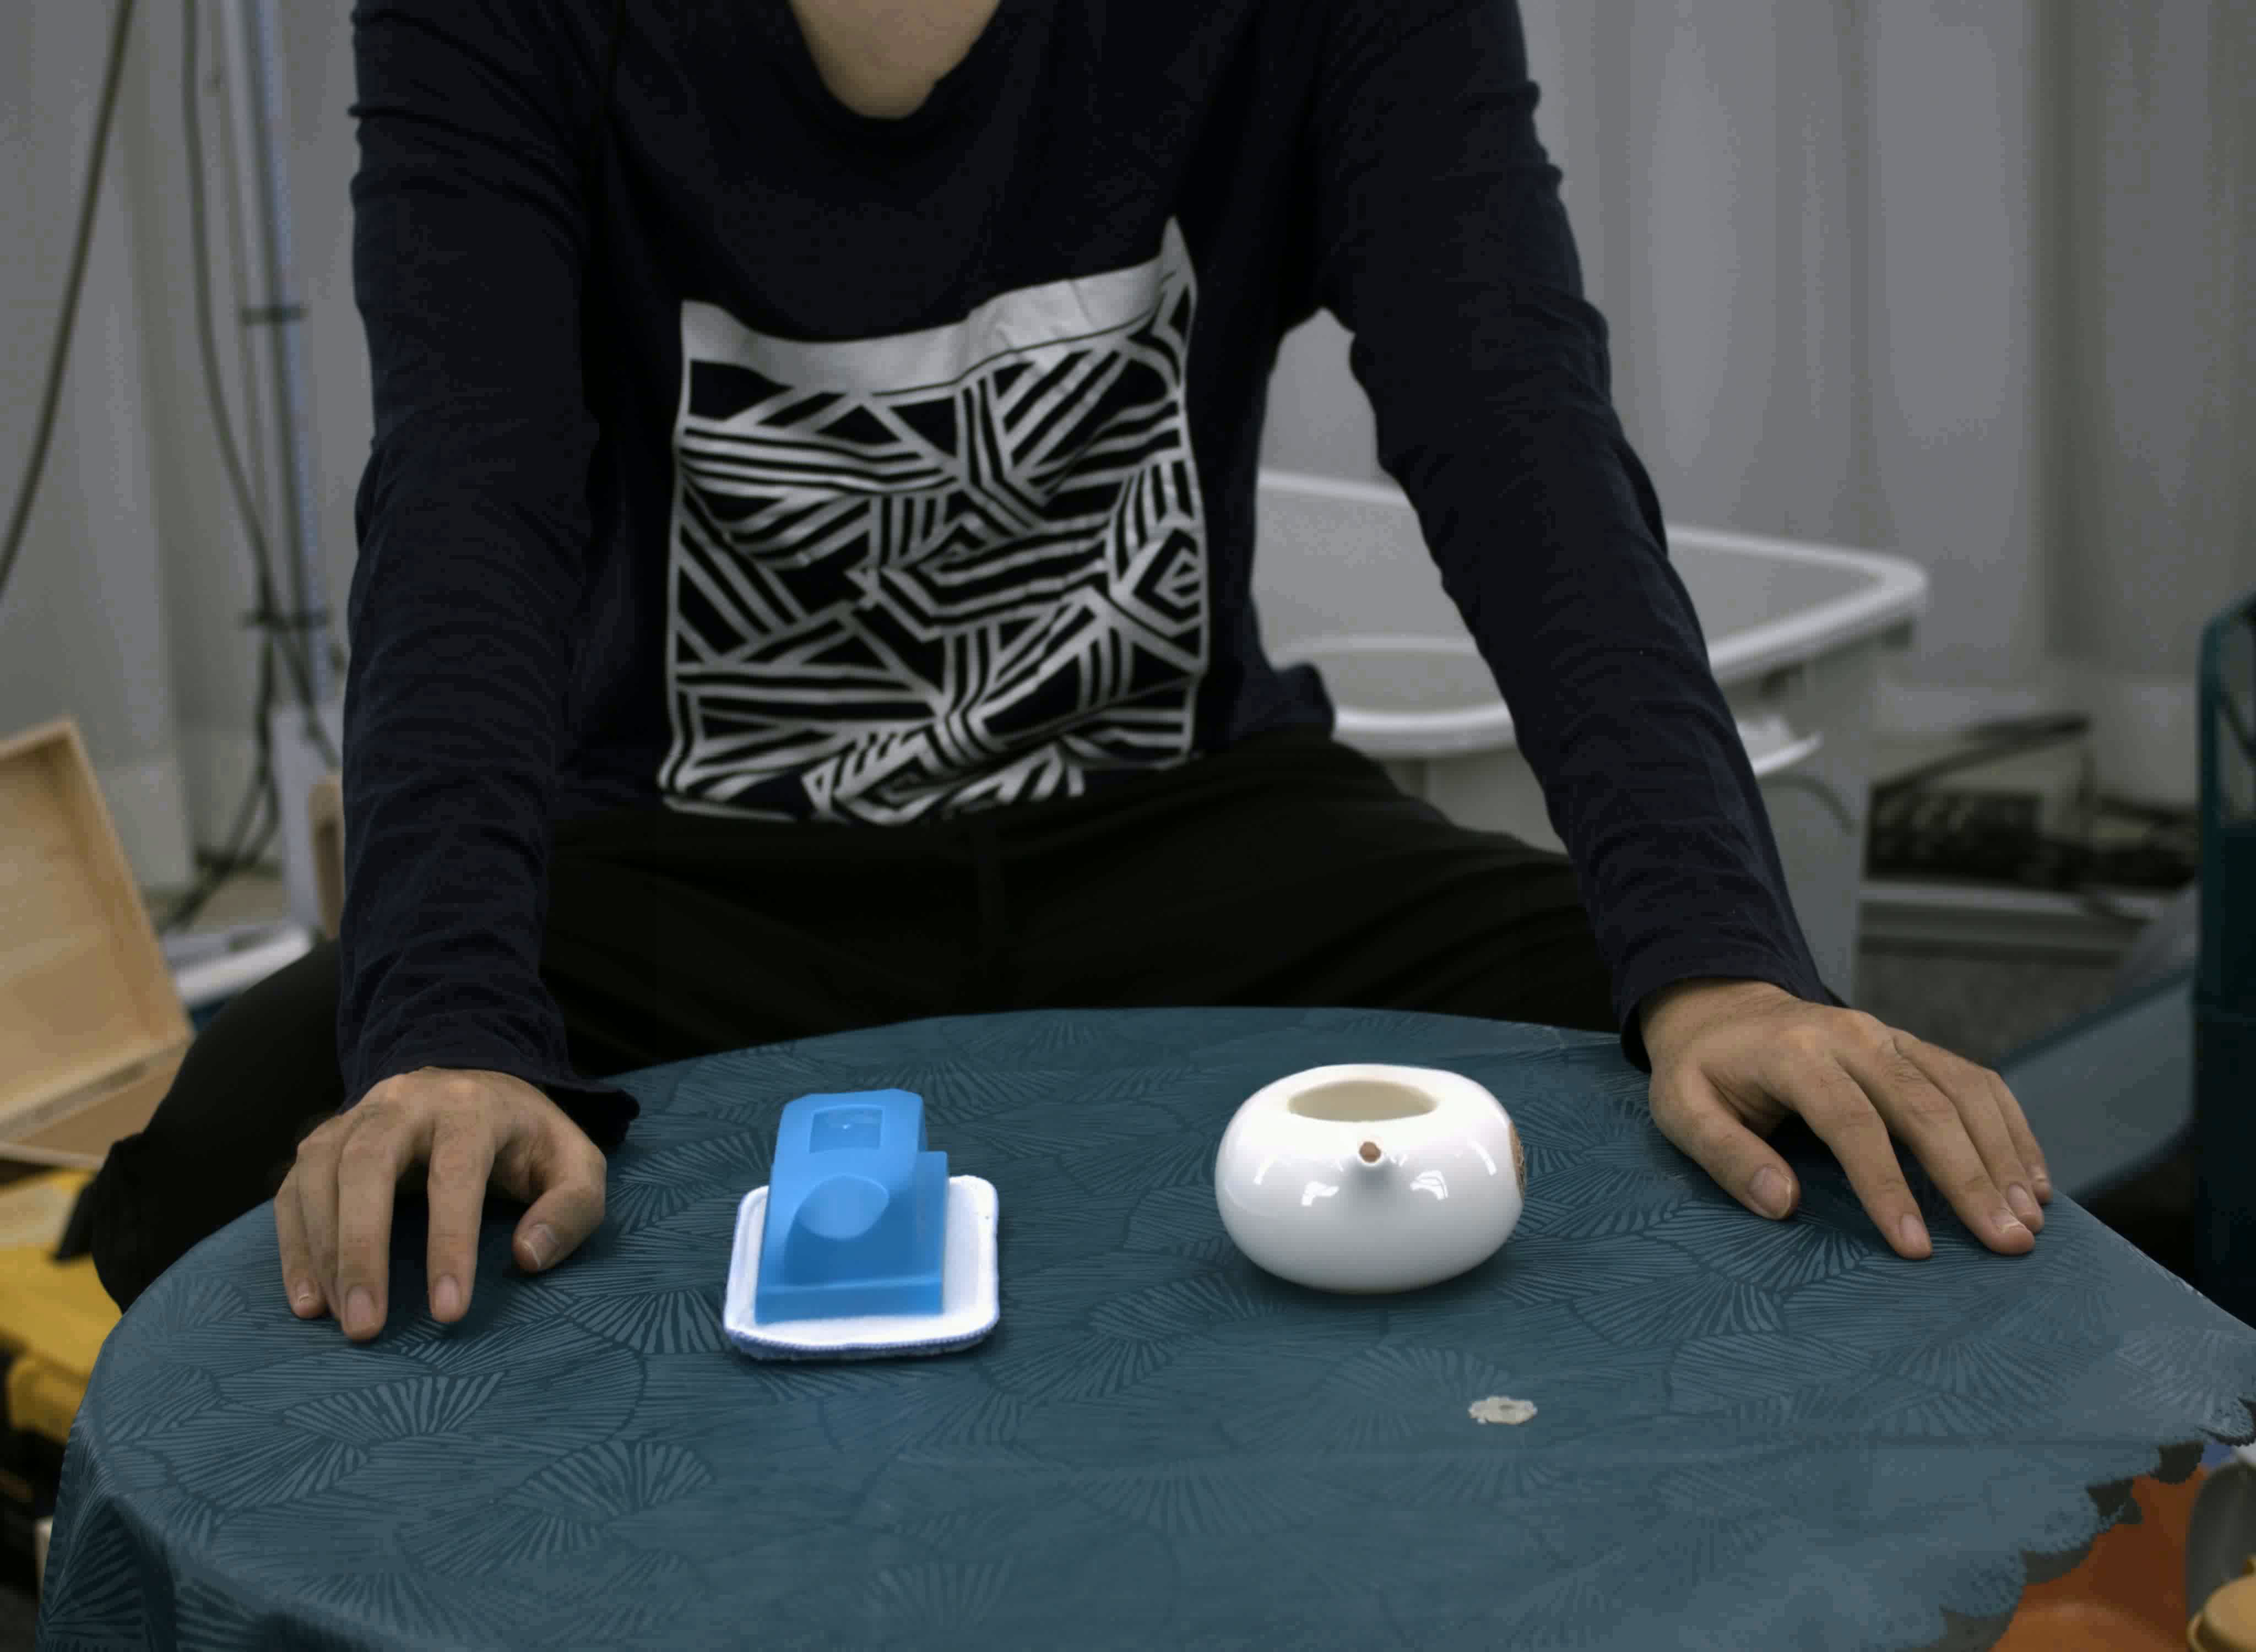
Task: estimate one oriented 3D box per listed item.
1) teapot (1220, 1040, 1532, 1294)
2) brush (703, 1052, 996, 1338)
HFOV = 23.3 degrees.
[{"bbox_3d":[0.073,0.102,1.643,0.093,0.056,0.128,-7,14,-3],"label":"teapot"},{"bbox_3d":[-0.083,0.107,1.641,0.083,0.055,0.145,1,17,1],"label":"brush"}]
